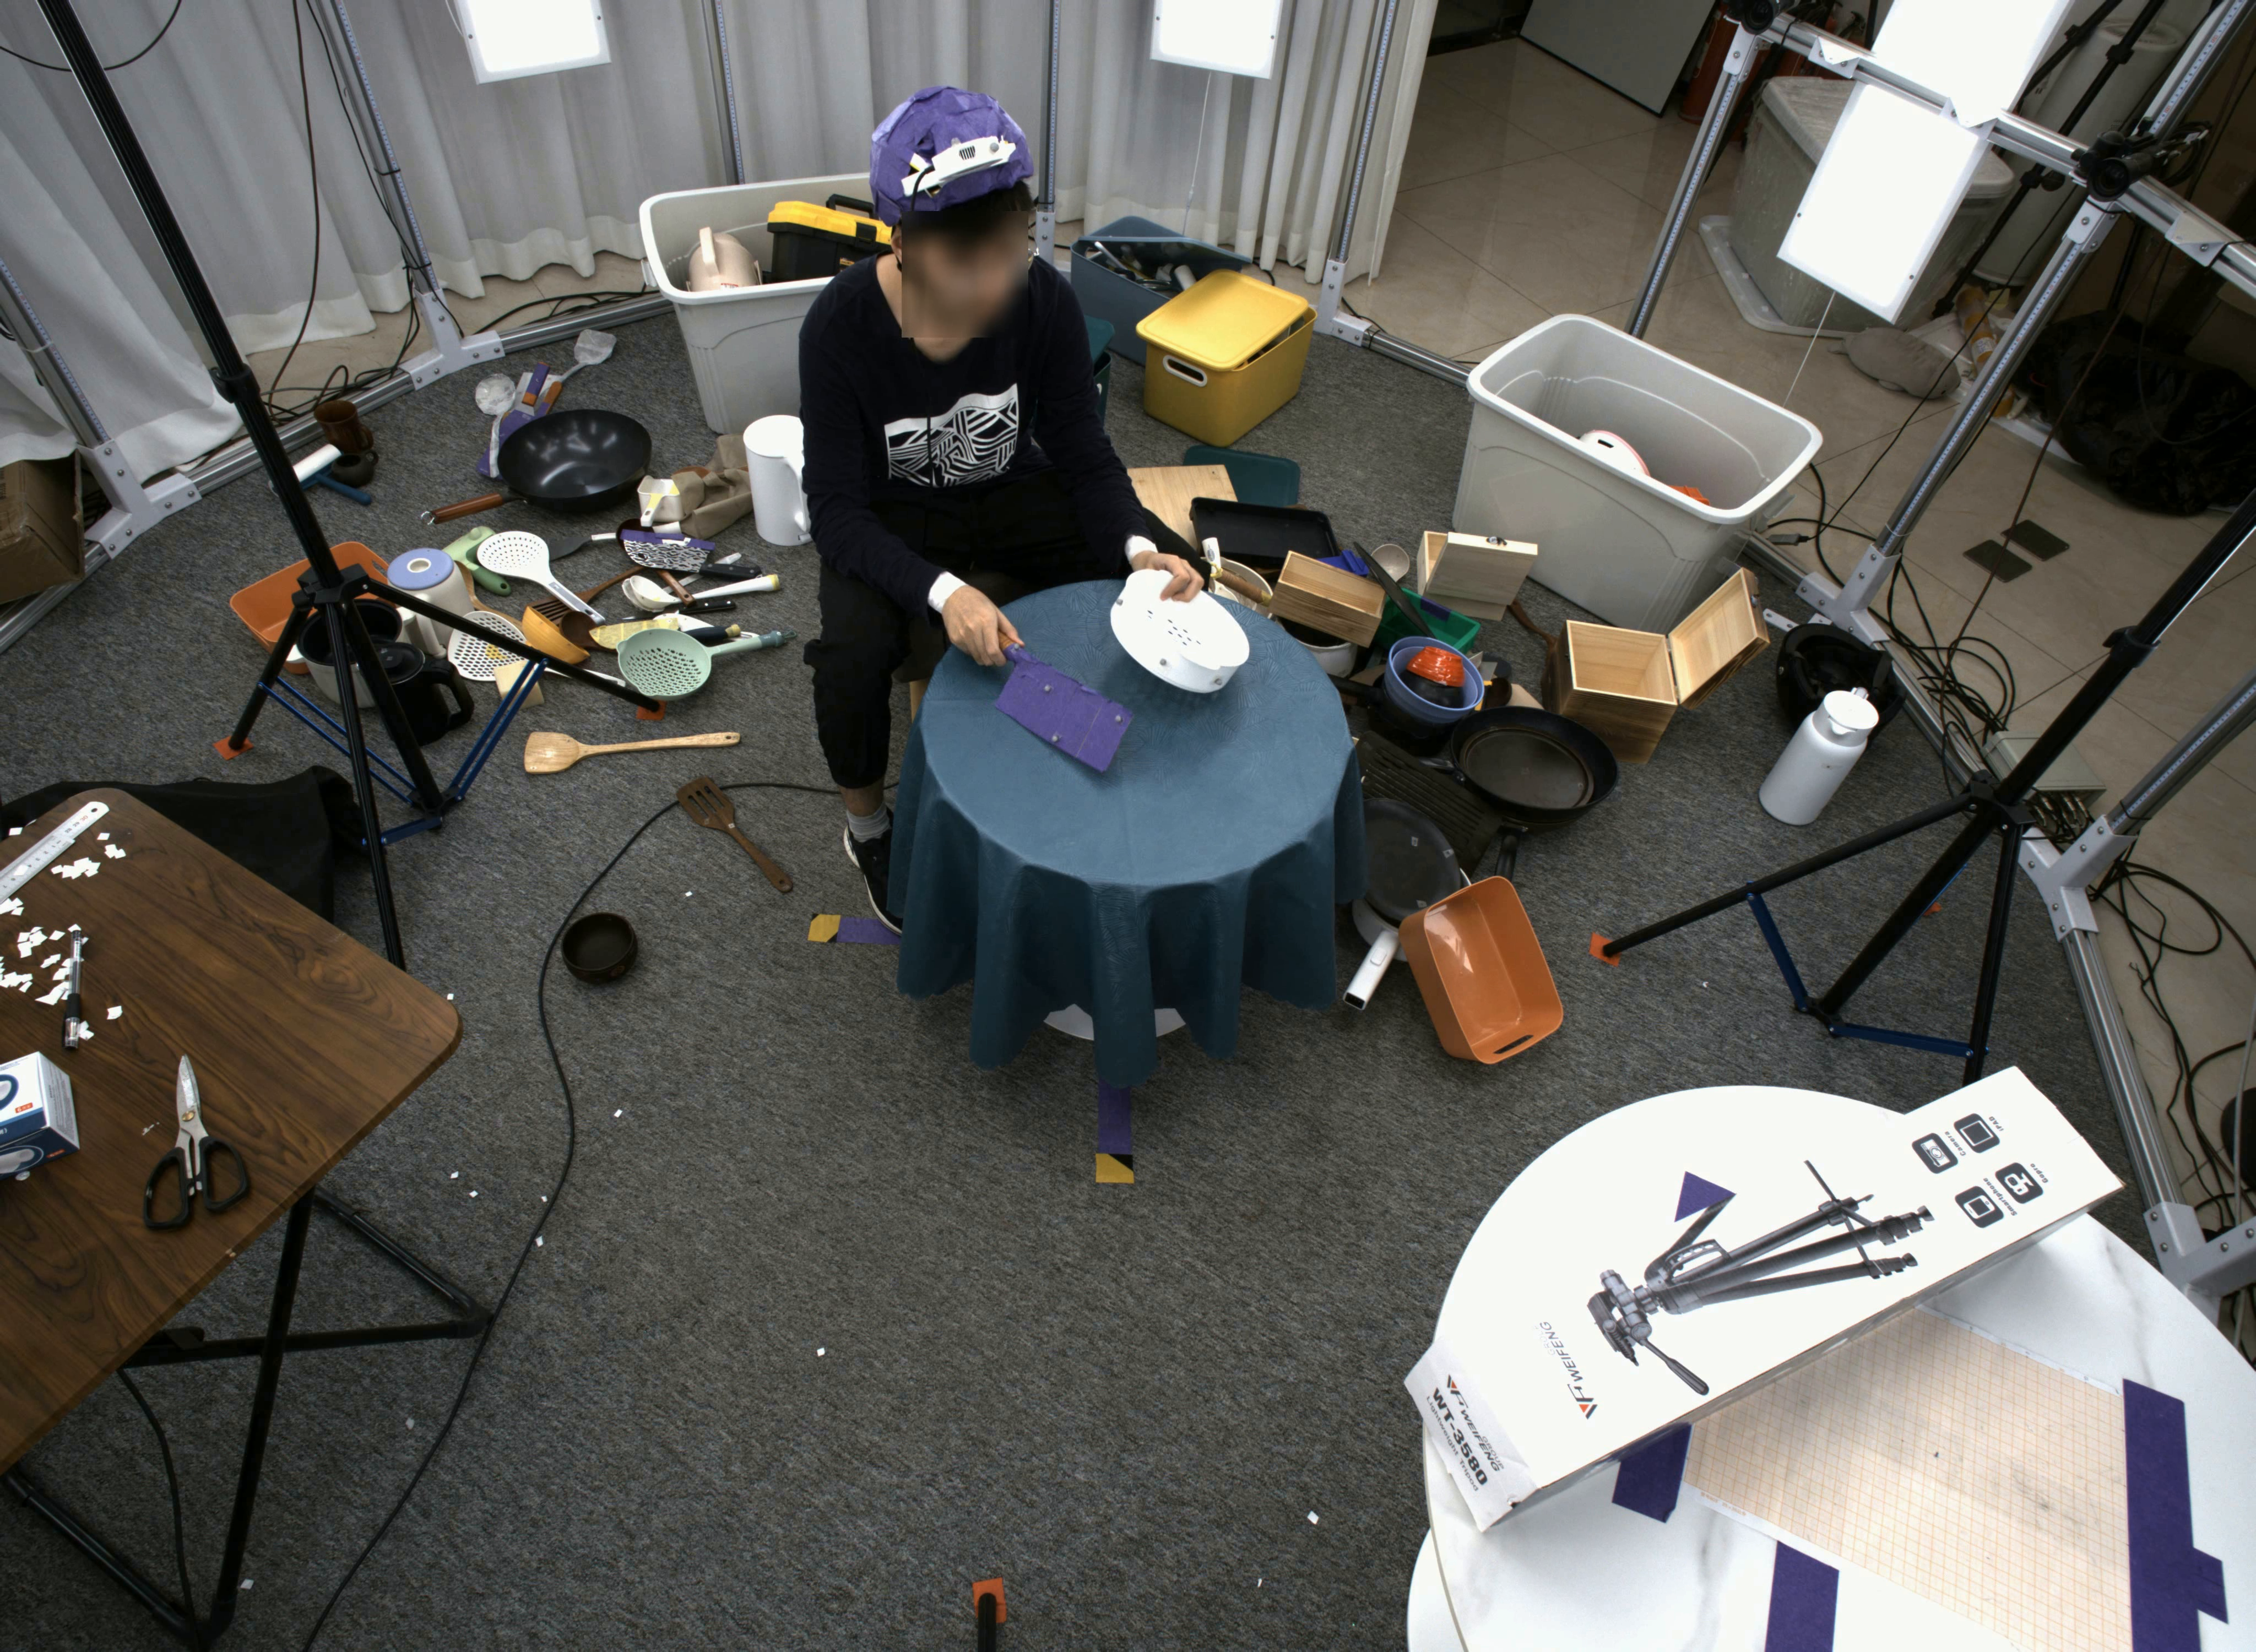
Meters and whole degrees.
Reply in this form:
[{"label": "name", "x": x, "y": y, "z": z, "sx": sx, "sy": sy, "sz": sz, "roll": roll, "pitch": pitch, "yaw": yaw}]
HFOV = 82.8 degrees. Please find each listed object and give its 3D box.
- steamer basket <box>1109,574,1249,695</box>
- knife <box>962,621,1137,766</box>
[{"label": "steamer basket", "x": 0.070, "y": -0.267, "z": 1.806, "sx": 0.200, "sy": 0.068, "sz": 0.236, "roll": 21, "pitch": 32, "yaw": -23}, {"label": "knife", "x": -0.128, "y": -0.183, "z": 1.769, "sx": 0.320, "sy": 0.032, "sz": 0.104, "roll": 32, "pitch": 92, "yaw": 31}]
